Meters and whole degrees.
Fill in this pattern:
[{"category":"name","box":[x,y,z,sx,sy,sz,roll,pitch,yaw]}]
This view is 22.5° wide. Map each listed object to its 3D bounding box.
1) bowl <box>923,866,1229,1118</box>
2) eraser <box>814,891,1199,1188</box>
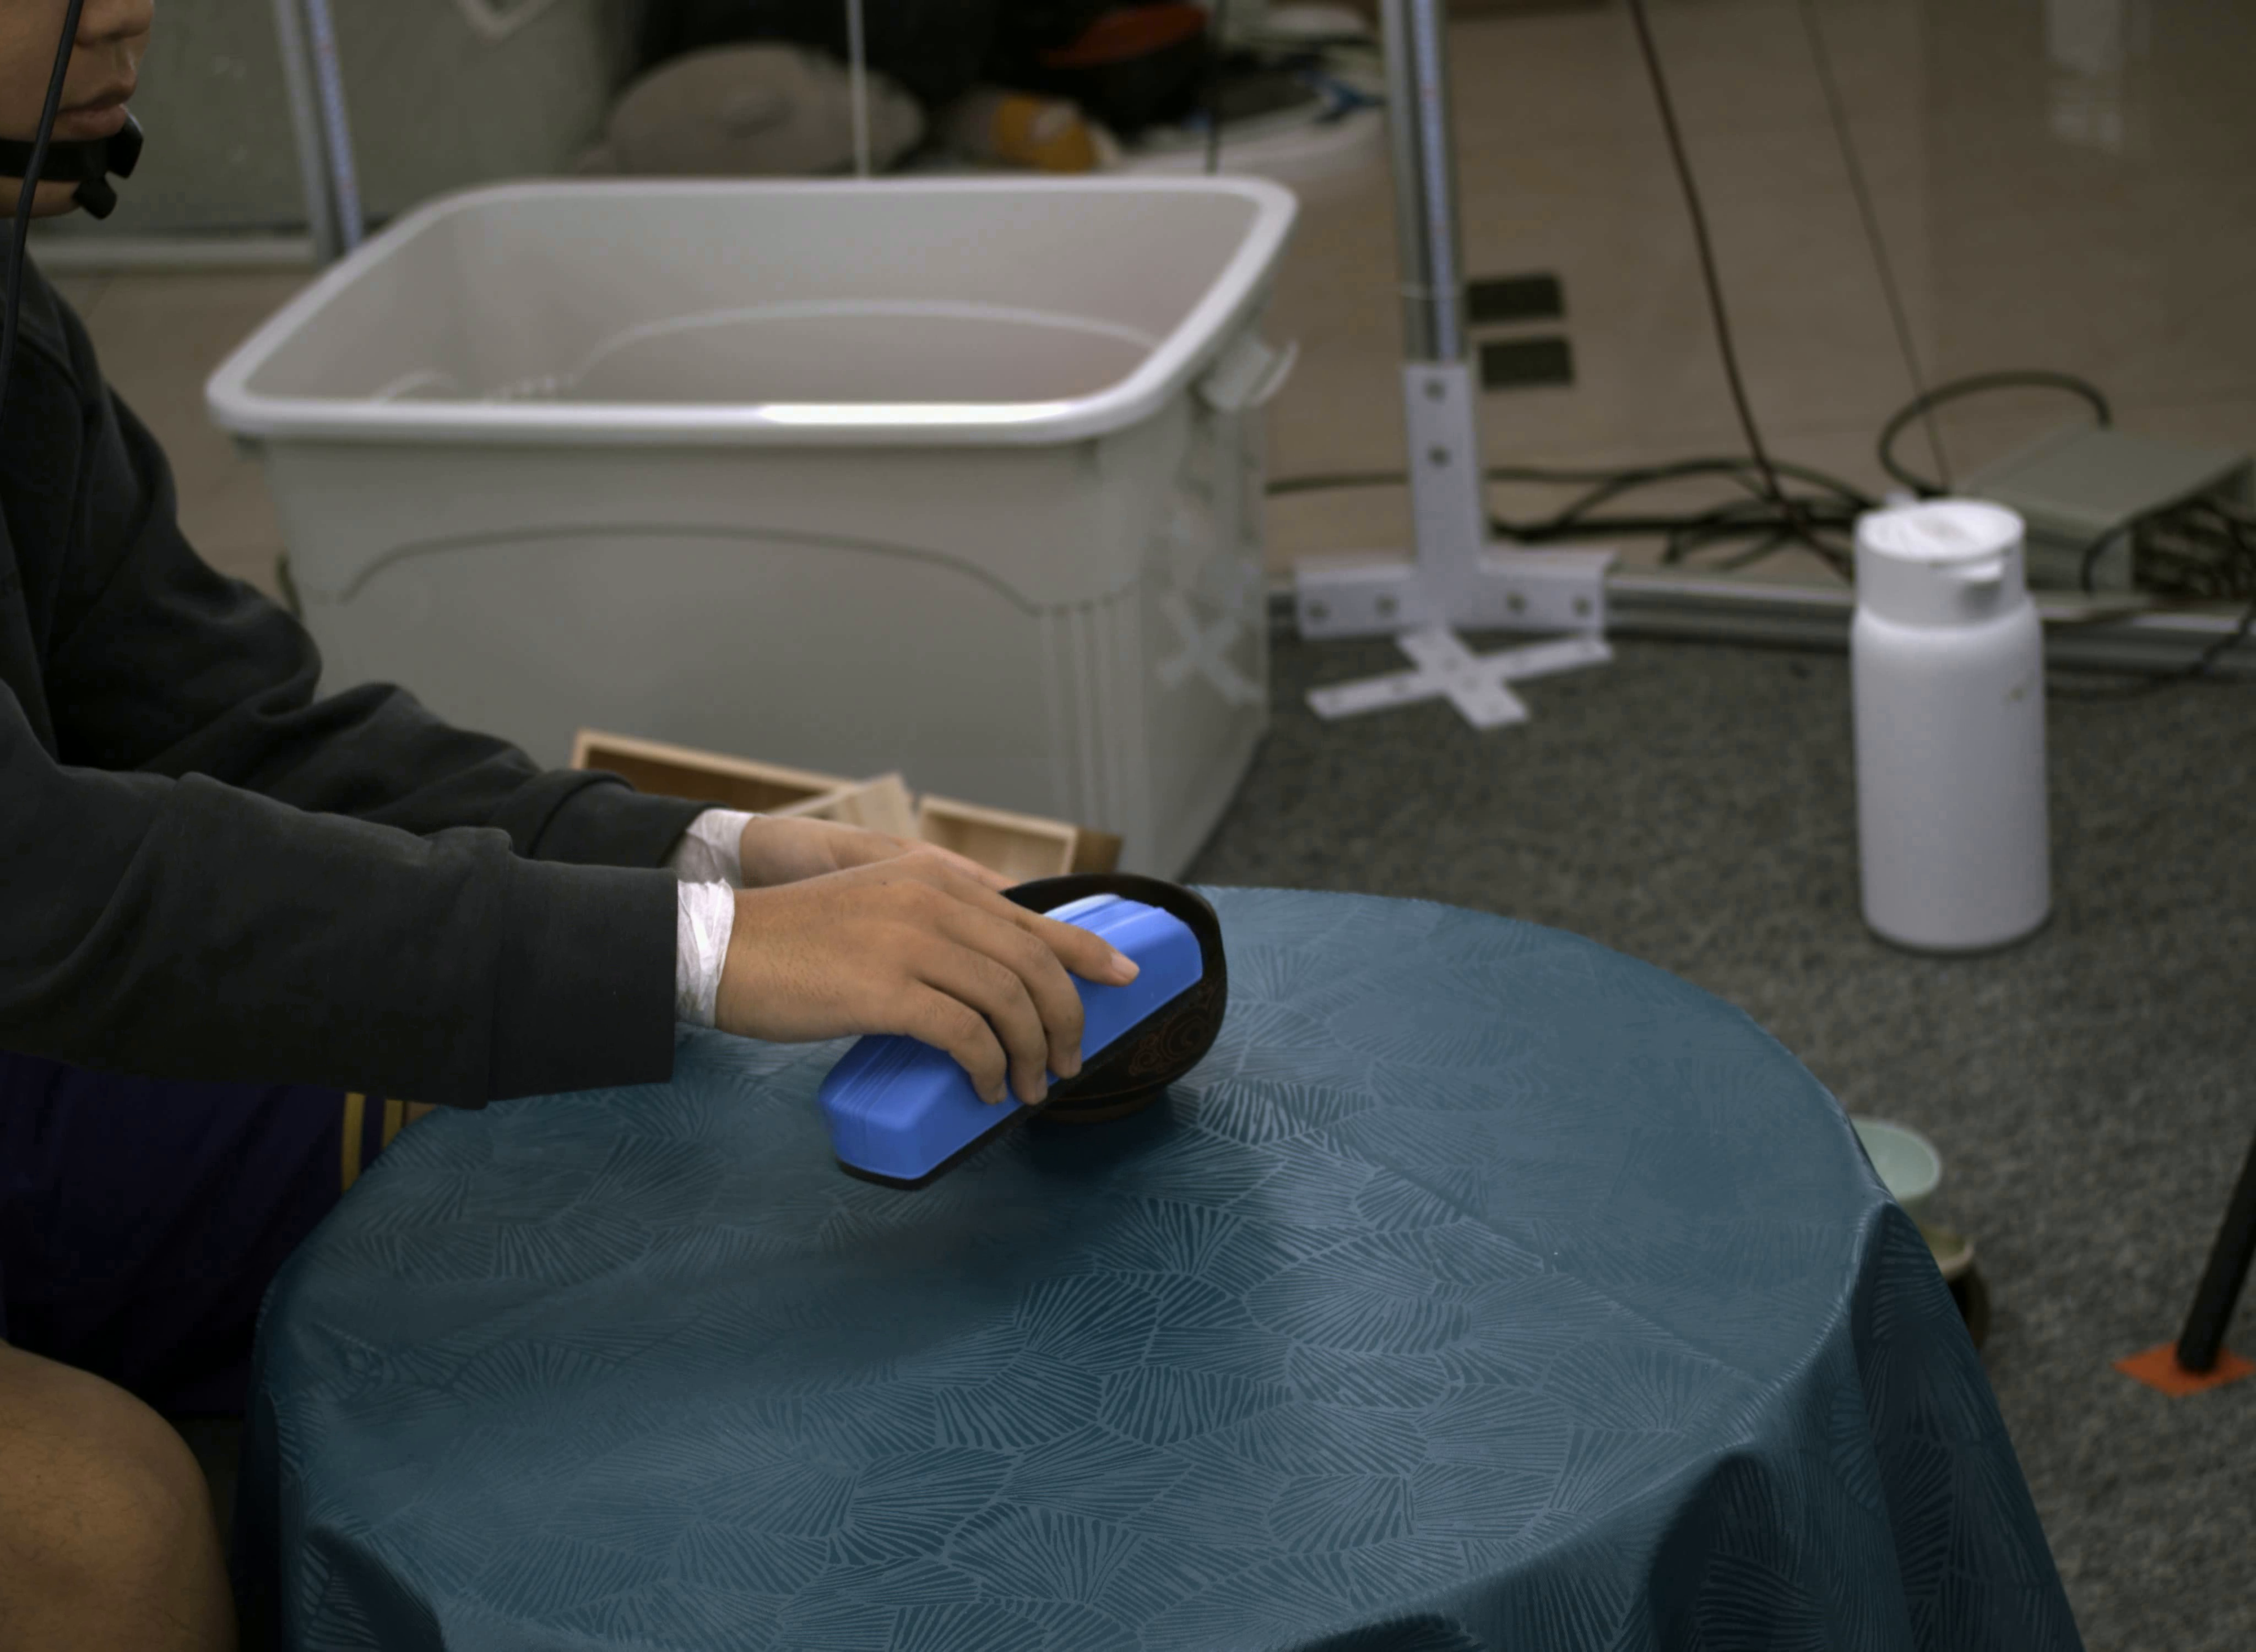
[{"category":"bowl","box":[-0.018,0.071,2.208,0.118,0.071,0.116,-7,25,3]},{"category":"eraser","box":[-0.045,0.073,2.095,0.053,0.048,0.160,21,43,40]}]
